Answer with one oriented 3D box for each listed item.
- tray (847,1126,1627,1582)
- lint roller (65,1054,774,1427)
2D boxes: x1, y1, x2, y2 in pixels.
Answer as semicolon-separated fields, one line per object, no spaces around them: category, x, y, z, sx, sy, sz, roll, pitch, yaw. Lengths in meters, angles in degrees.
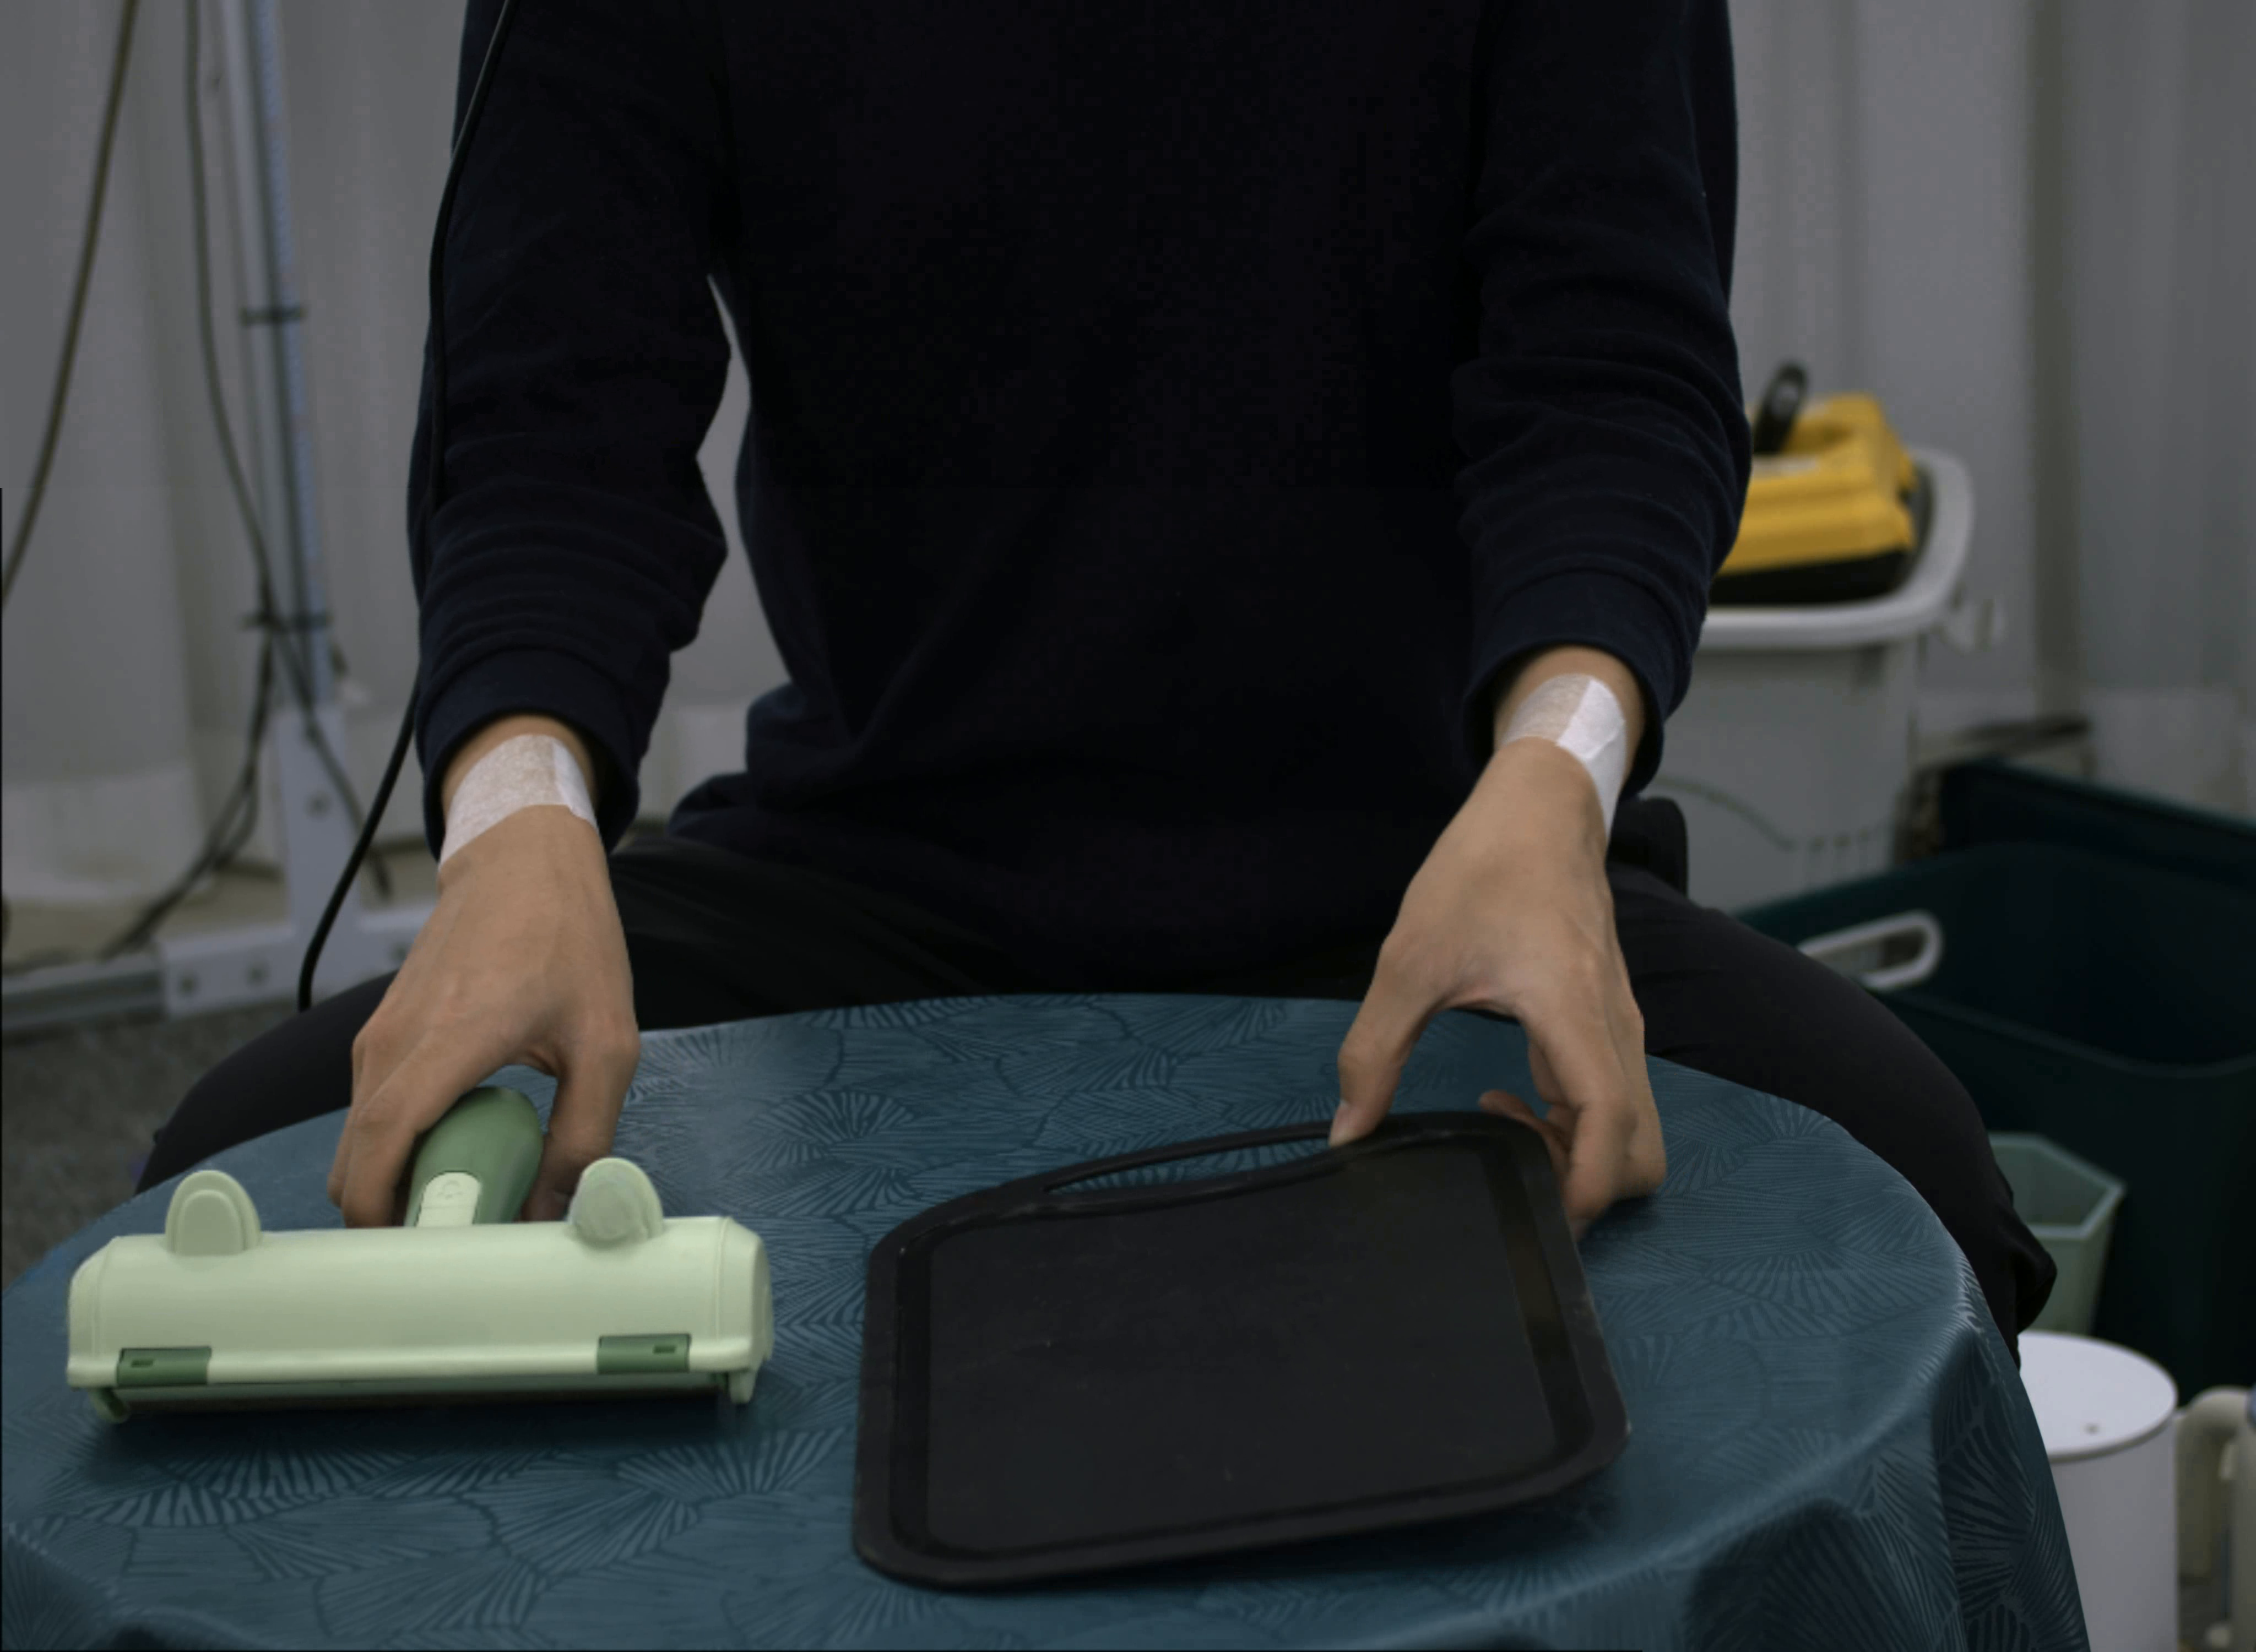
tray;0.026;0.142;1.562;0.210;0.010;0.328;-8;15;1
lint roller;-0.200;0.102;1.599;0.198;0.081;0.186;-2;35;3
